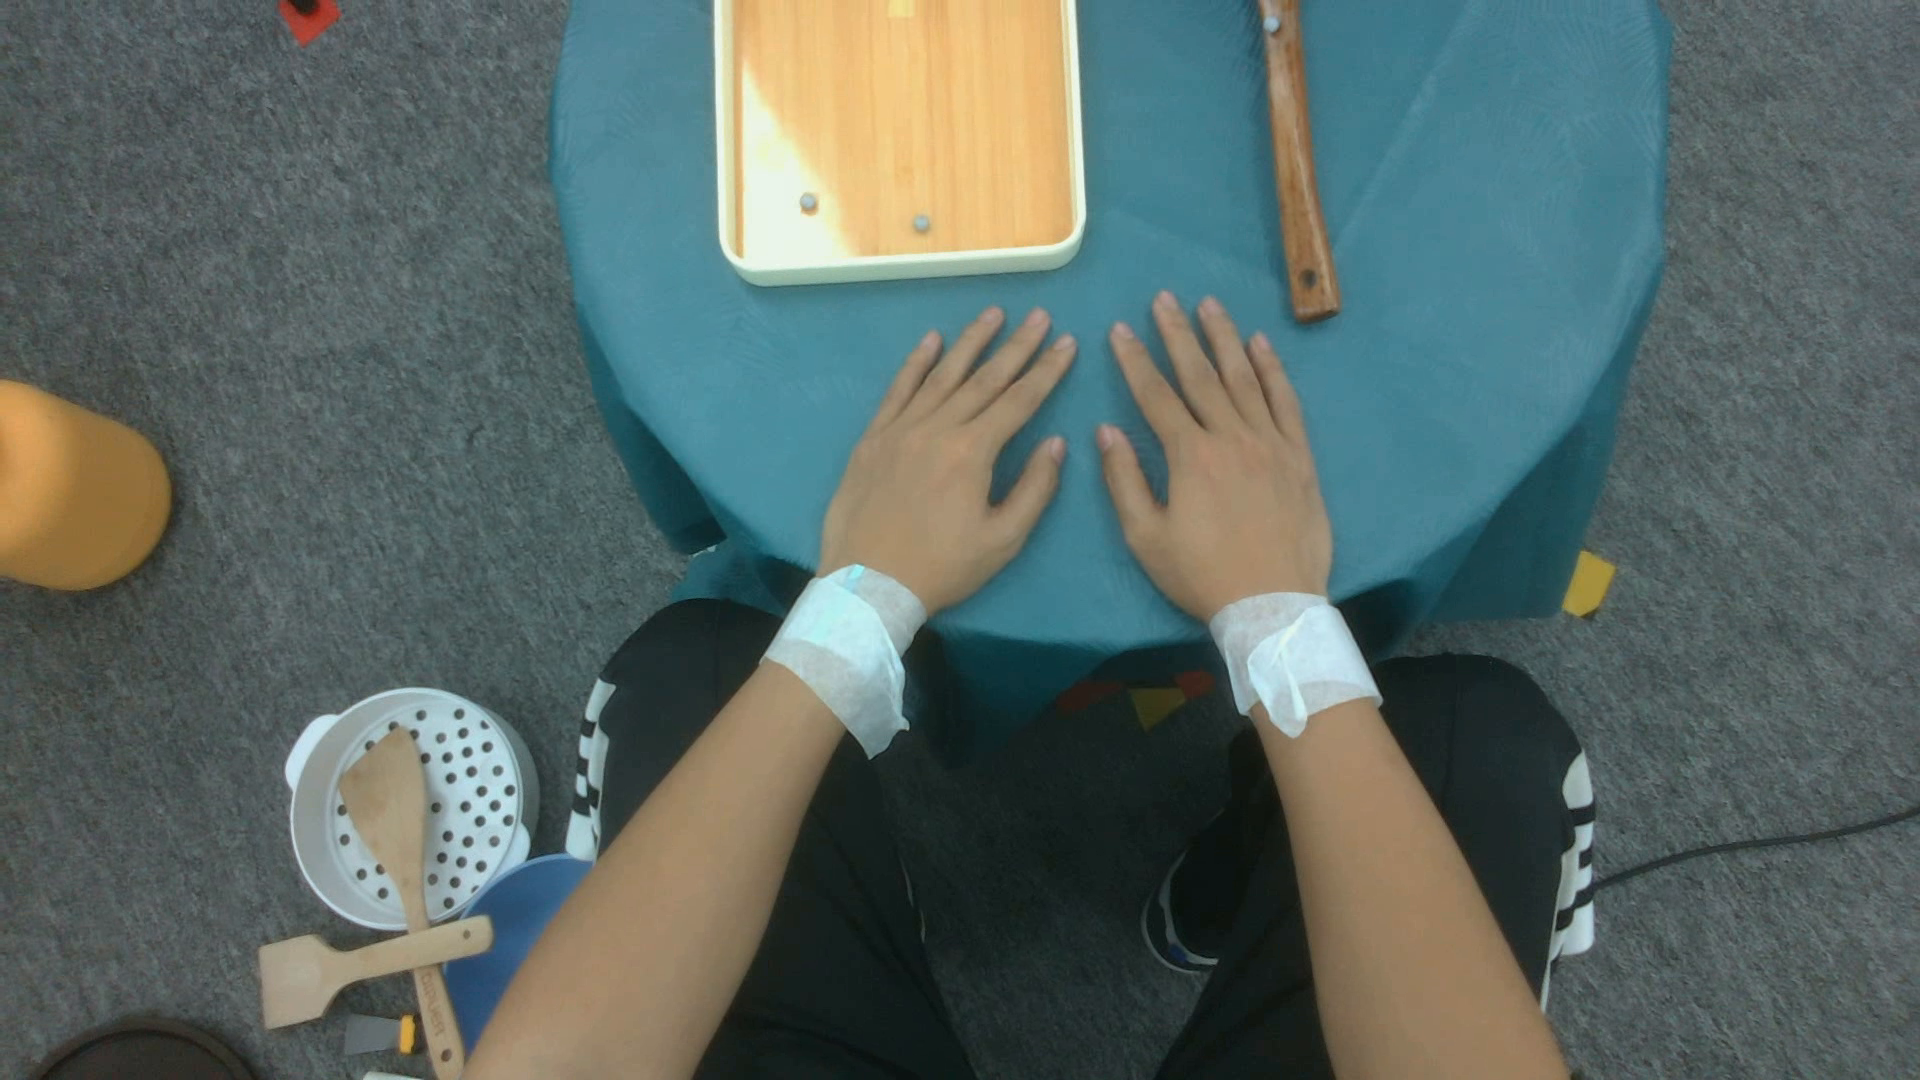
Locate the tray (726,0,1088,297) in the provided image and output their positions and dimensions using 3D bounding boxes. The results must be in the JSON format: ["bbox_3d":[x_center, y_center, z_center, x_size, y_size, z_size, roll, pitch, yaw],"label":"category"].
[{"bbox_3d":[-0.033,-0.283,0.763,0.191,0.027,0.301,-3,78,3],"label":"tray"}]

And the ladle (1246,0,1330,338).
[{"bbox_3d":[0.158,-0.245,0.721,0.081,0.077,0.274,-13,75,41],"label":"ladle"}]
